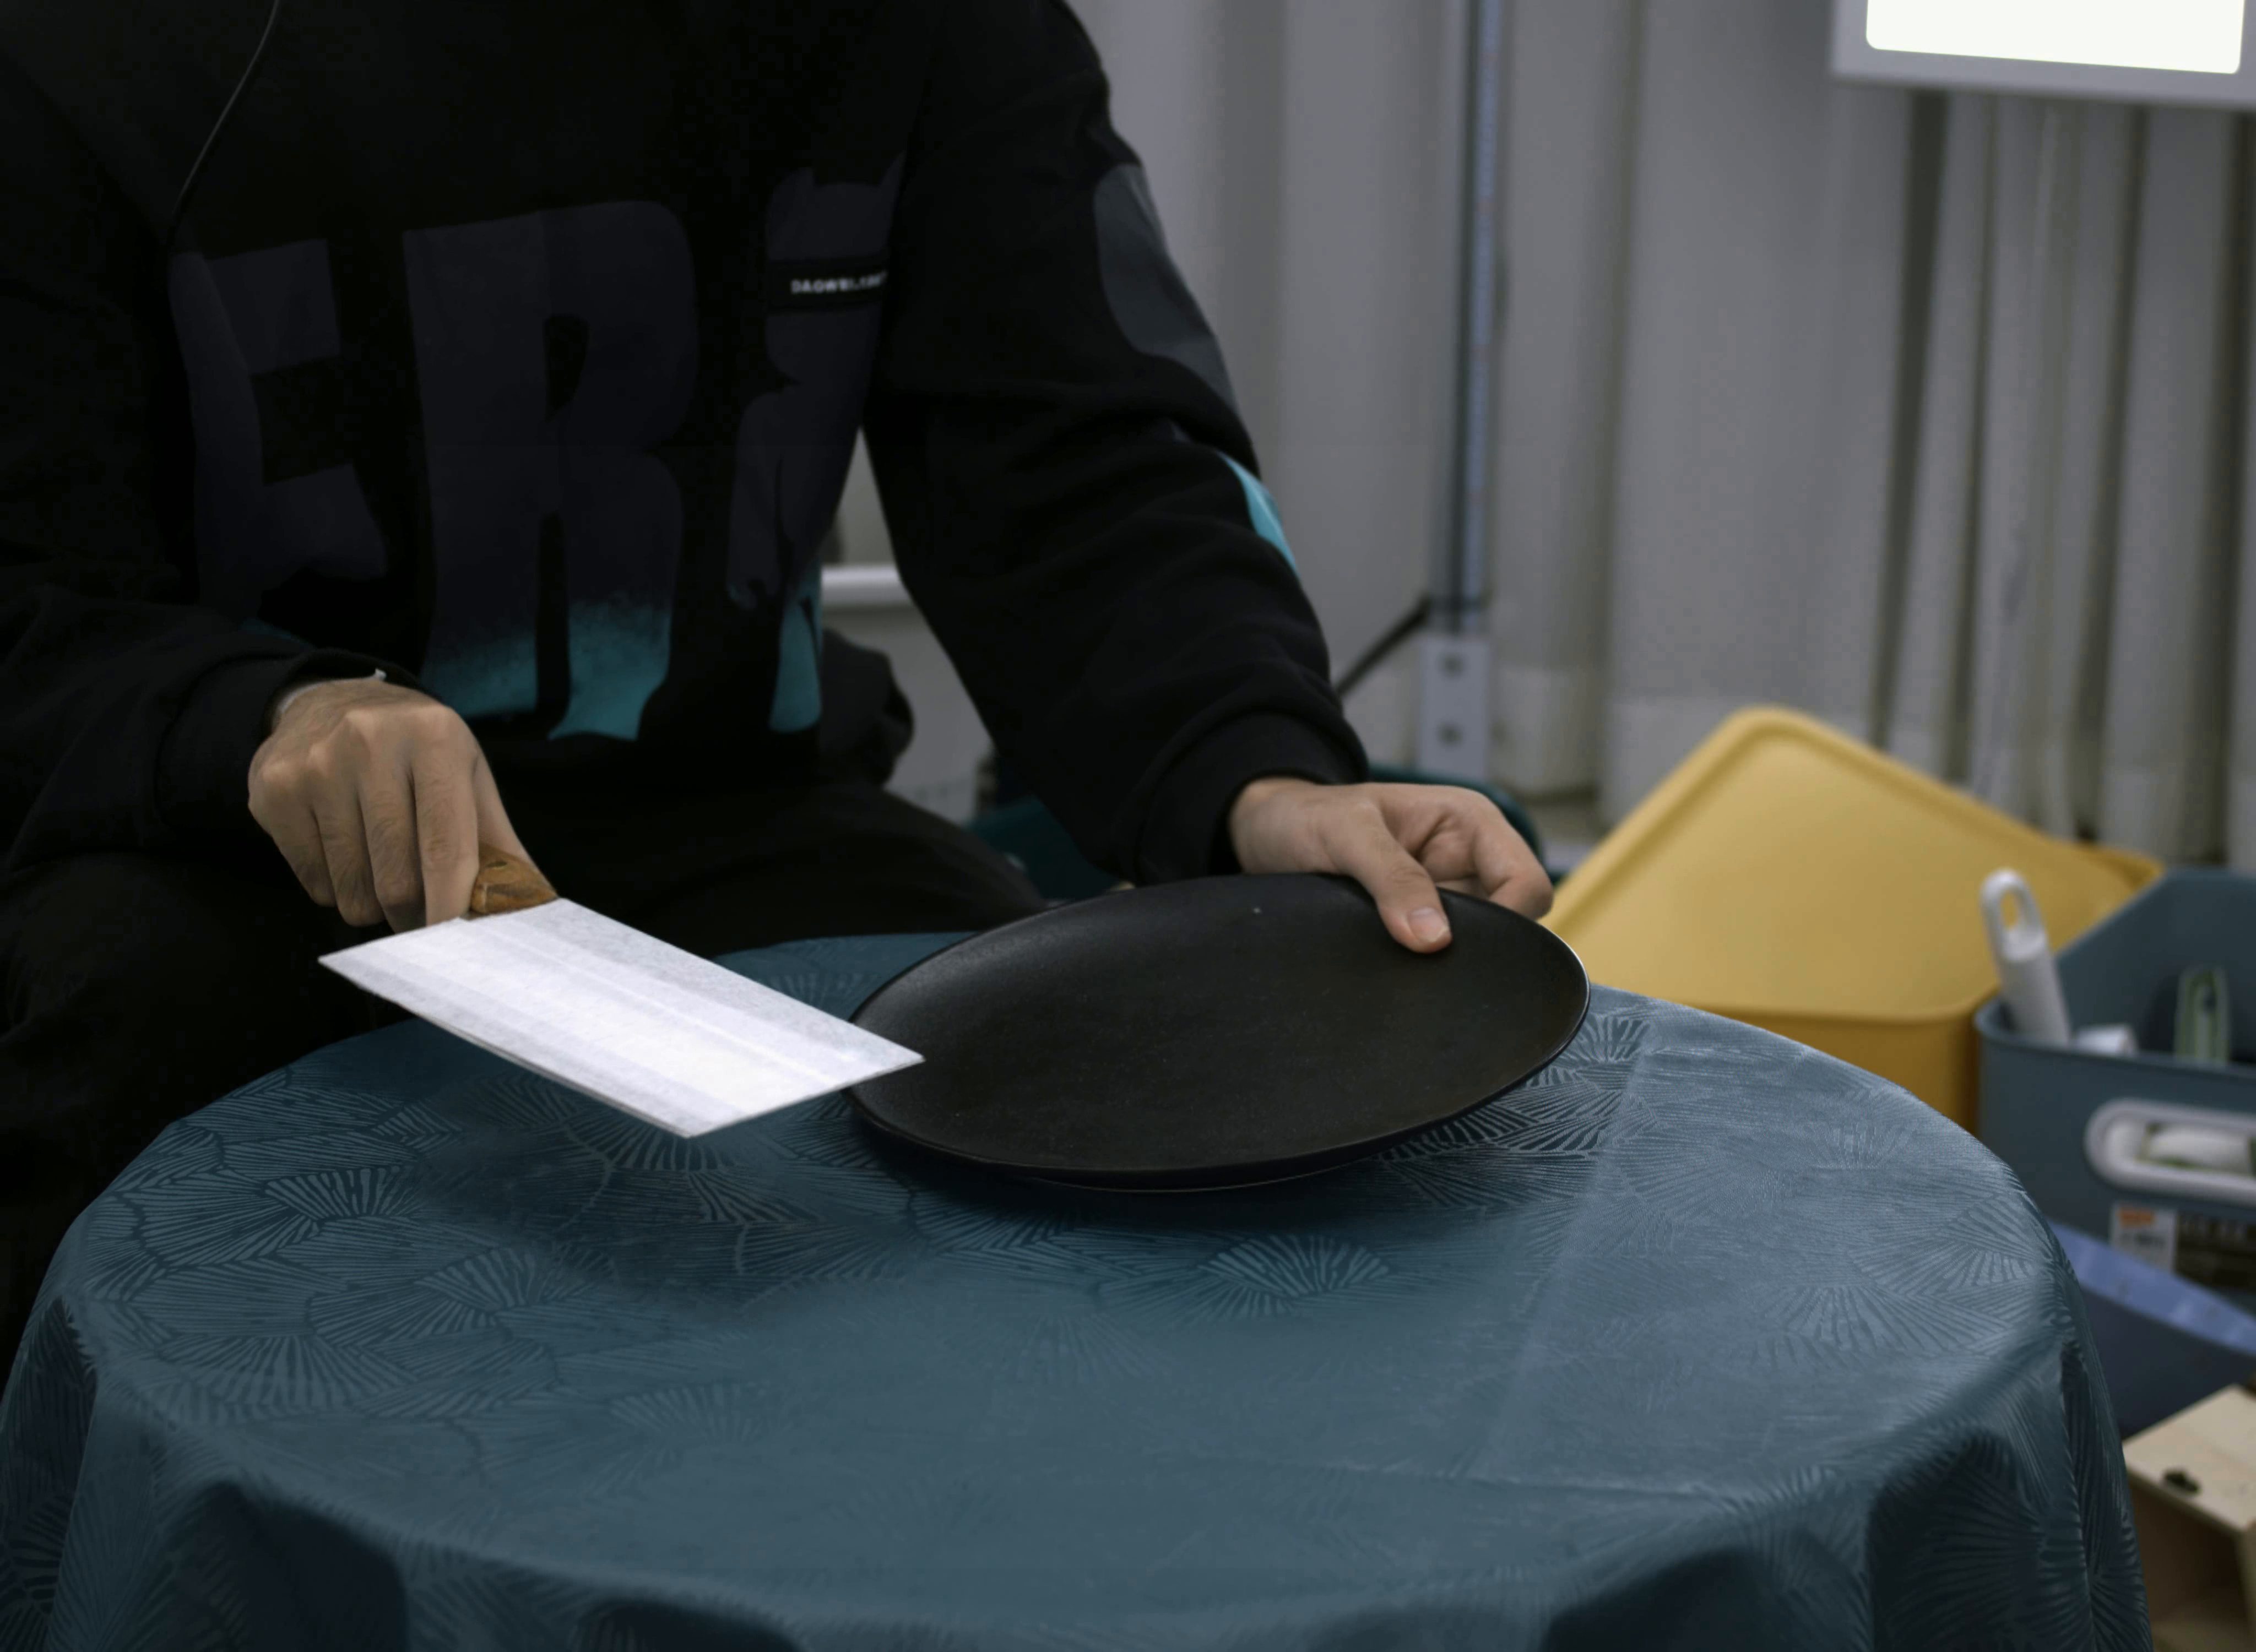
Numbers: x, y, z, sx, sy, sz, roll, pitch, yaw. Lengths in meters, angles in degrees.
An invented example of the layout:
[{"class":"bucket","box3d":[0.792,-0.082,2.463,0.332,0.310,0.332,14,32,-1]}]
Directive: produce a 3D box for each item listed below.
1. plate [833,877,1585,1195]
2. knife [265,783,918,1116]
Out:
[{"class":"plate","box3d":[0.026,0.070,1.689,0.243,0.023,0.243,-5,20,2]},{"class":"knife","box3d":[-0.193,0.039,1.638,0.093,0.021,0.301,-16,26,-40]}]
